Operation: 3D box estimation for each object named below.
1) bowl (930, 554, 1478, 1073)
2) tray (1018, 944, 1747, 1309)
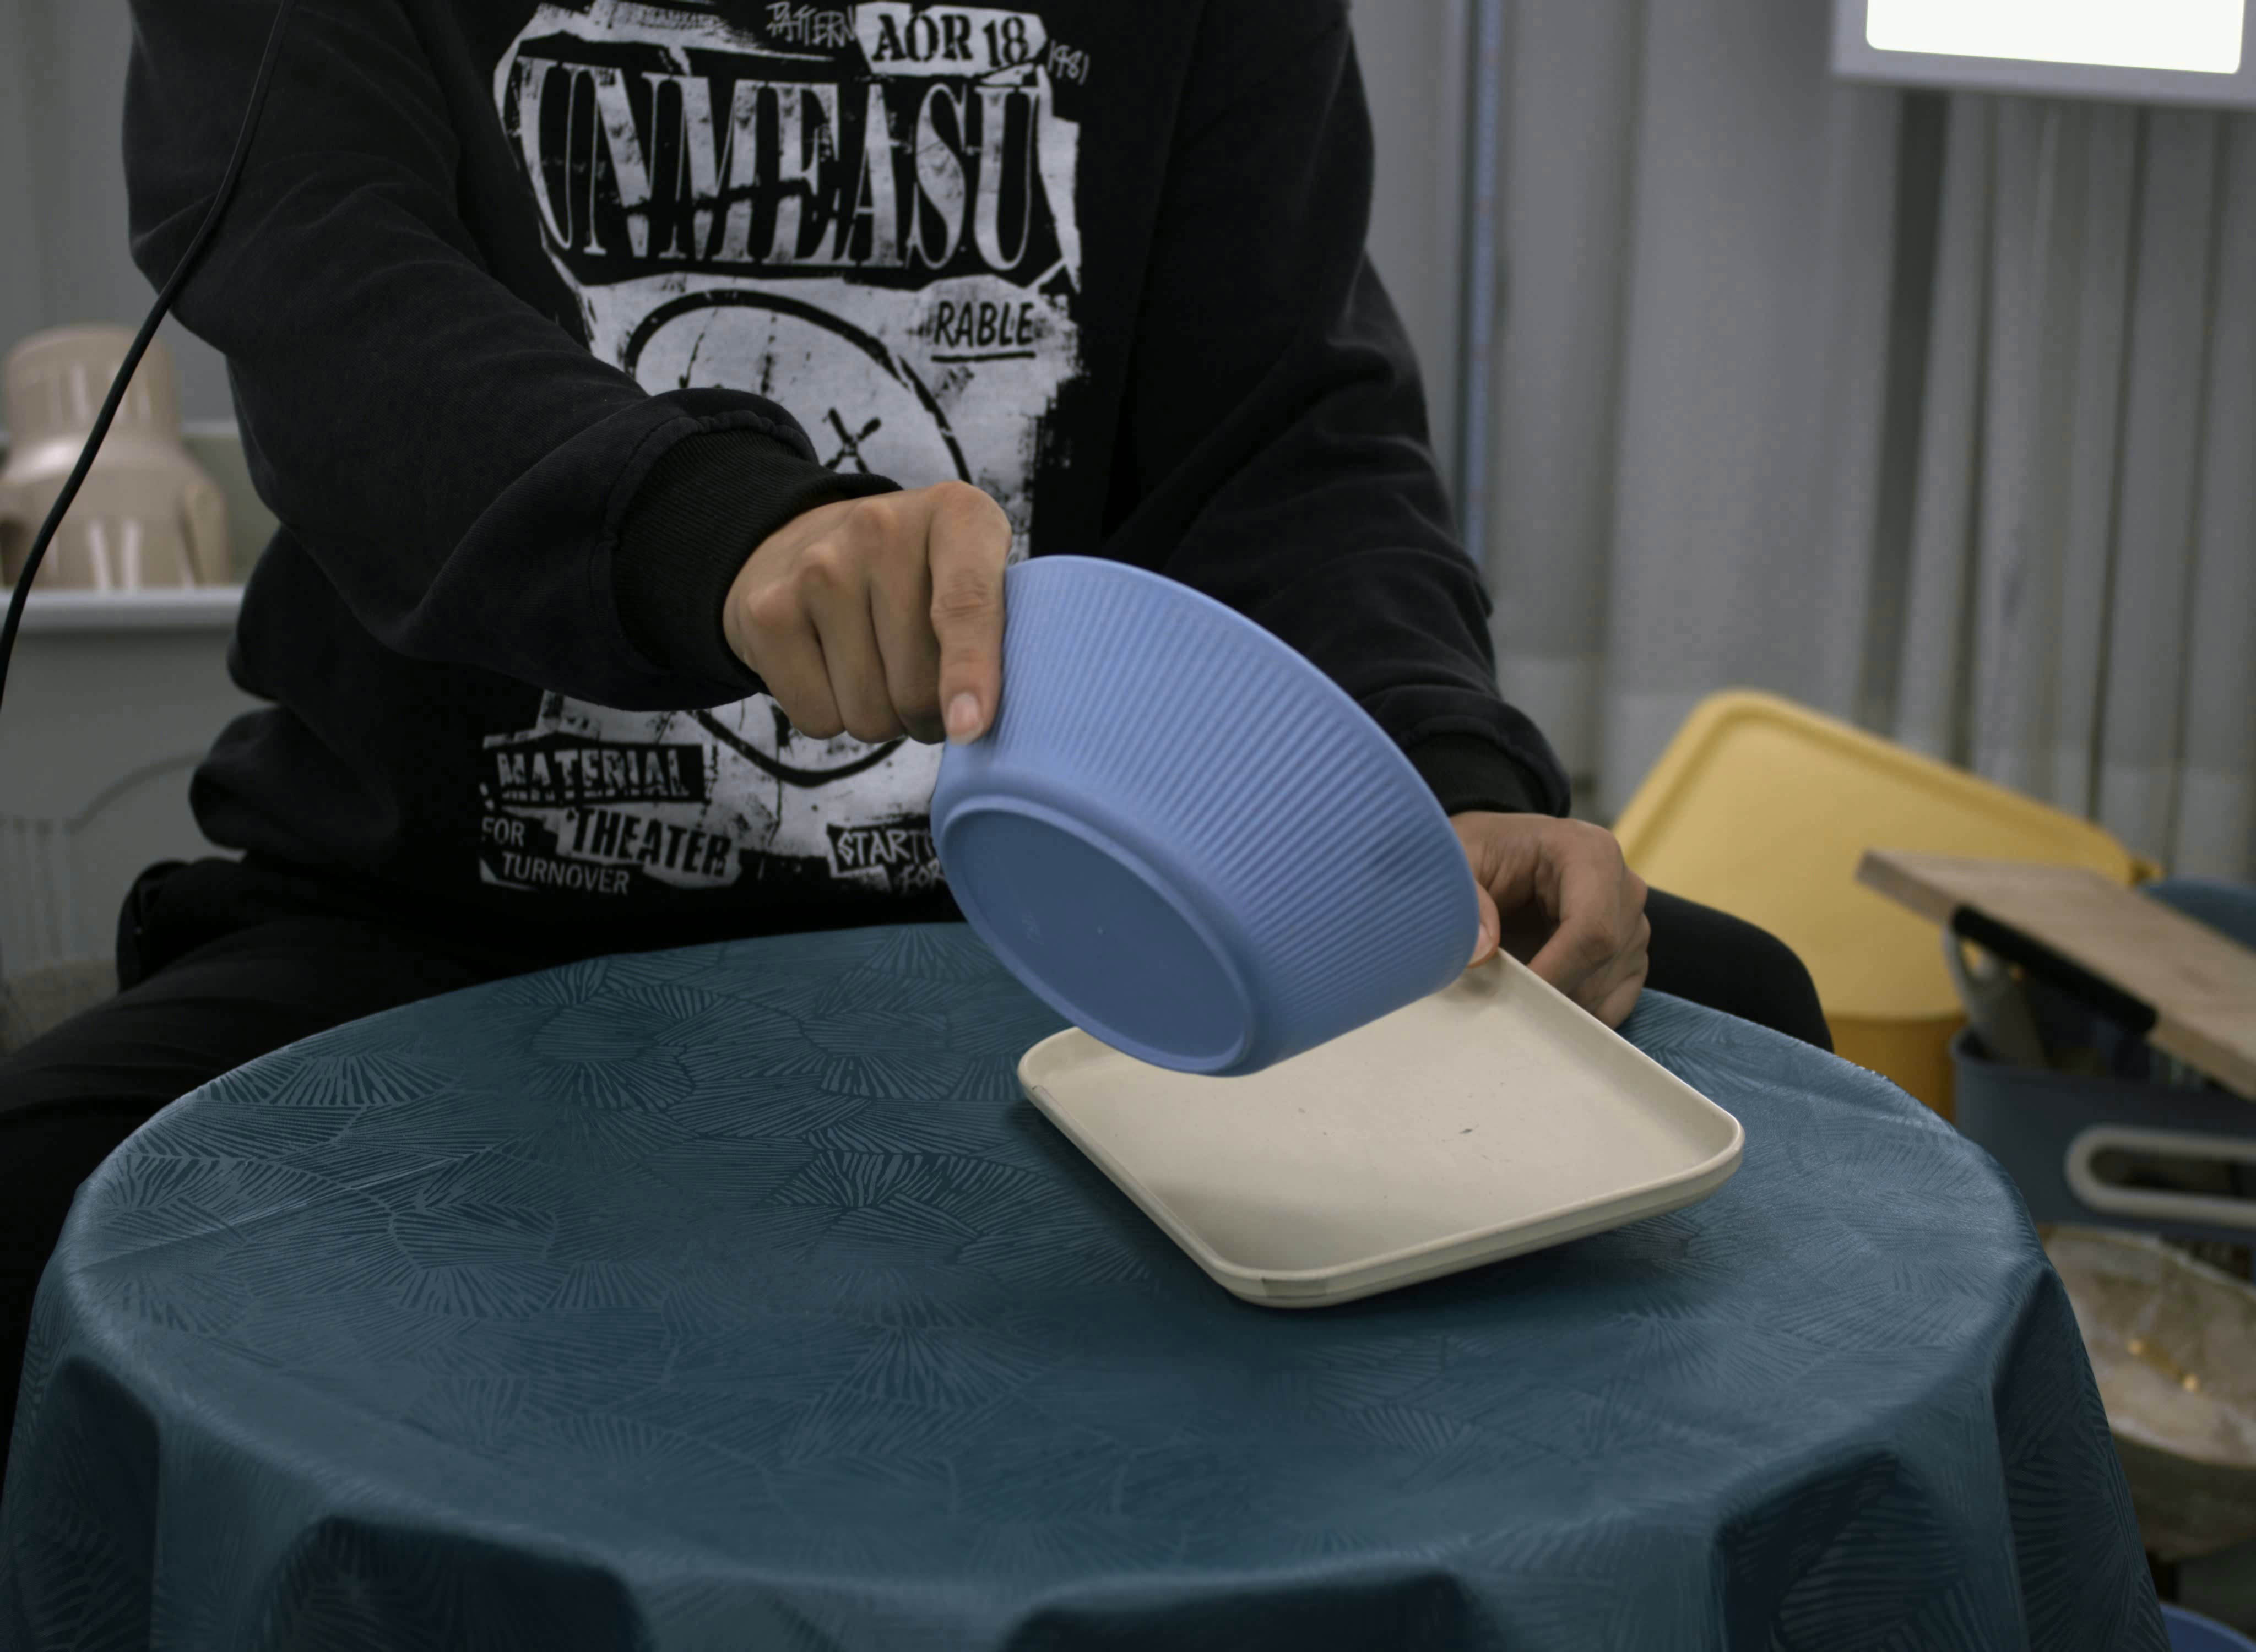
[{"bbox_3d":[0.009,0.008,1.500,0.174,0.178,0.070,15,56,39],"label":"bowl"},{"bbox_3d":[0.075,0.091,1.635,0.171,0.017,0.237,-13,19,-16],"label":"tray"}]
